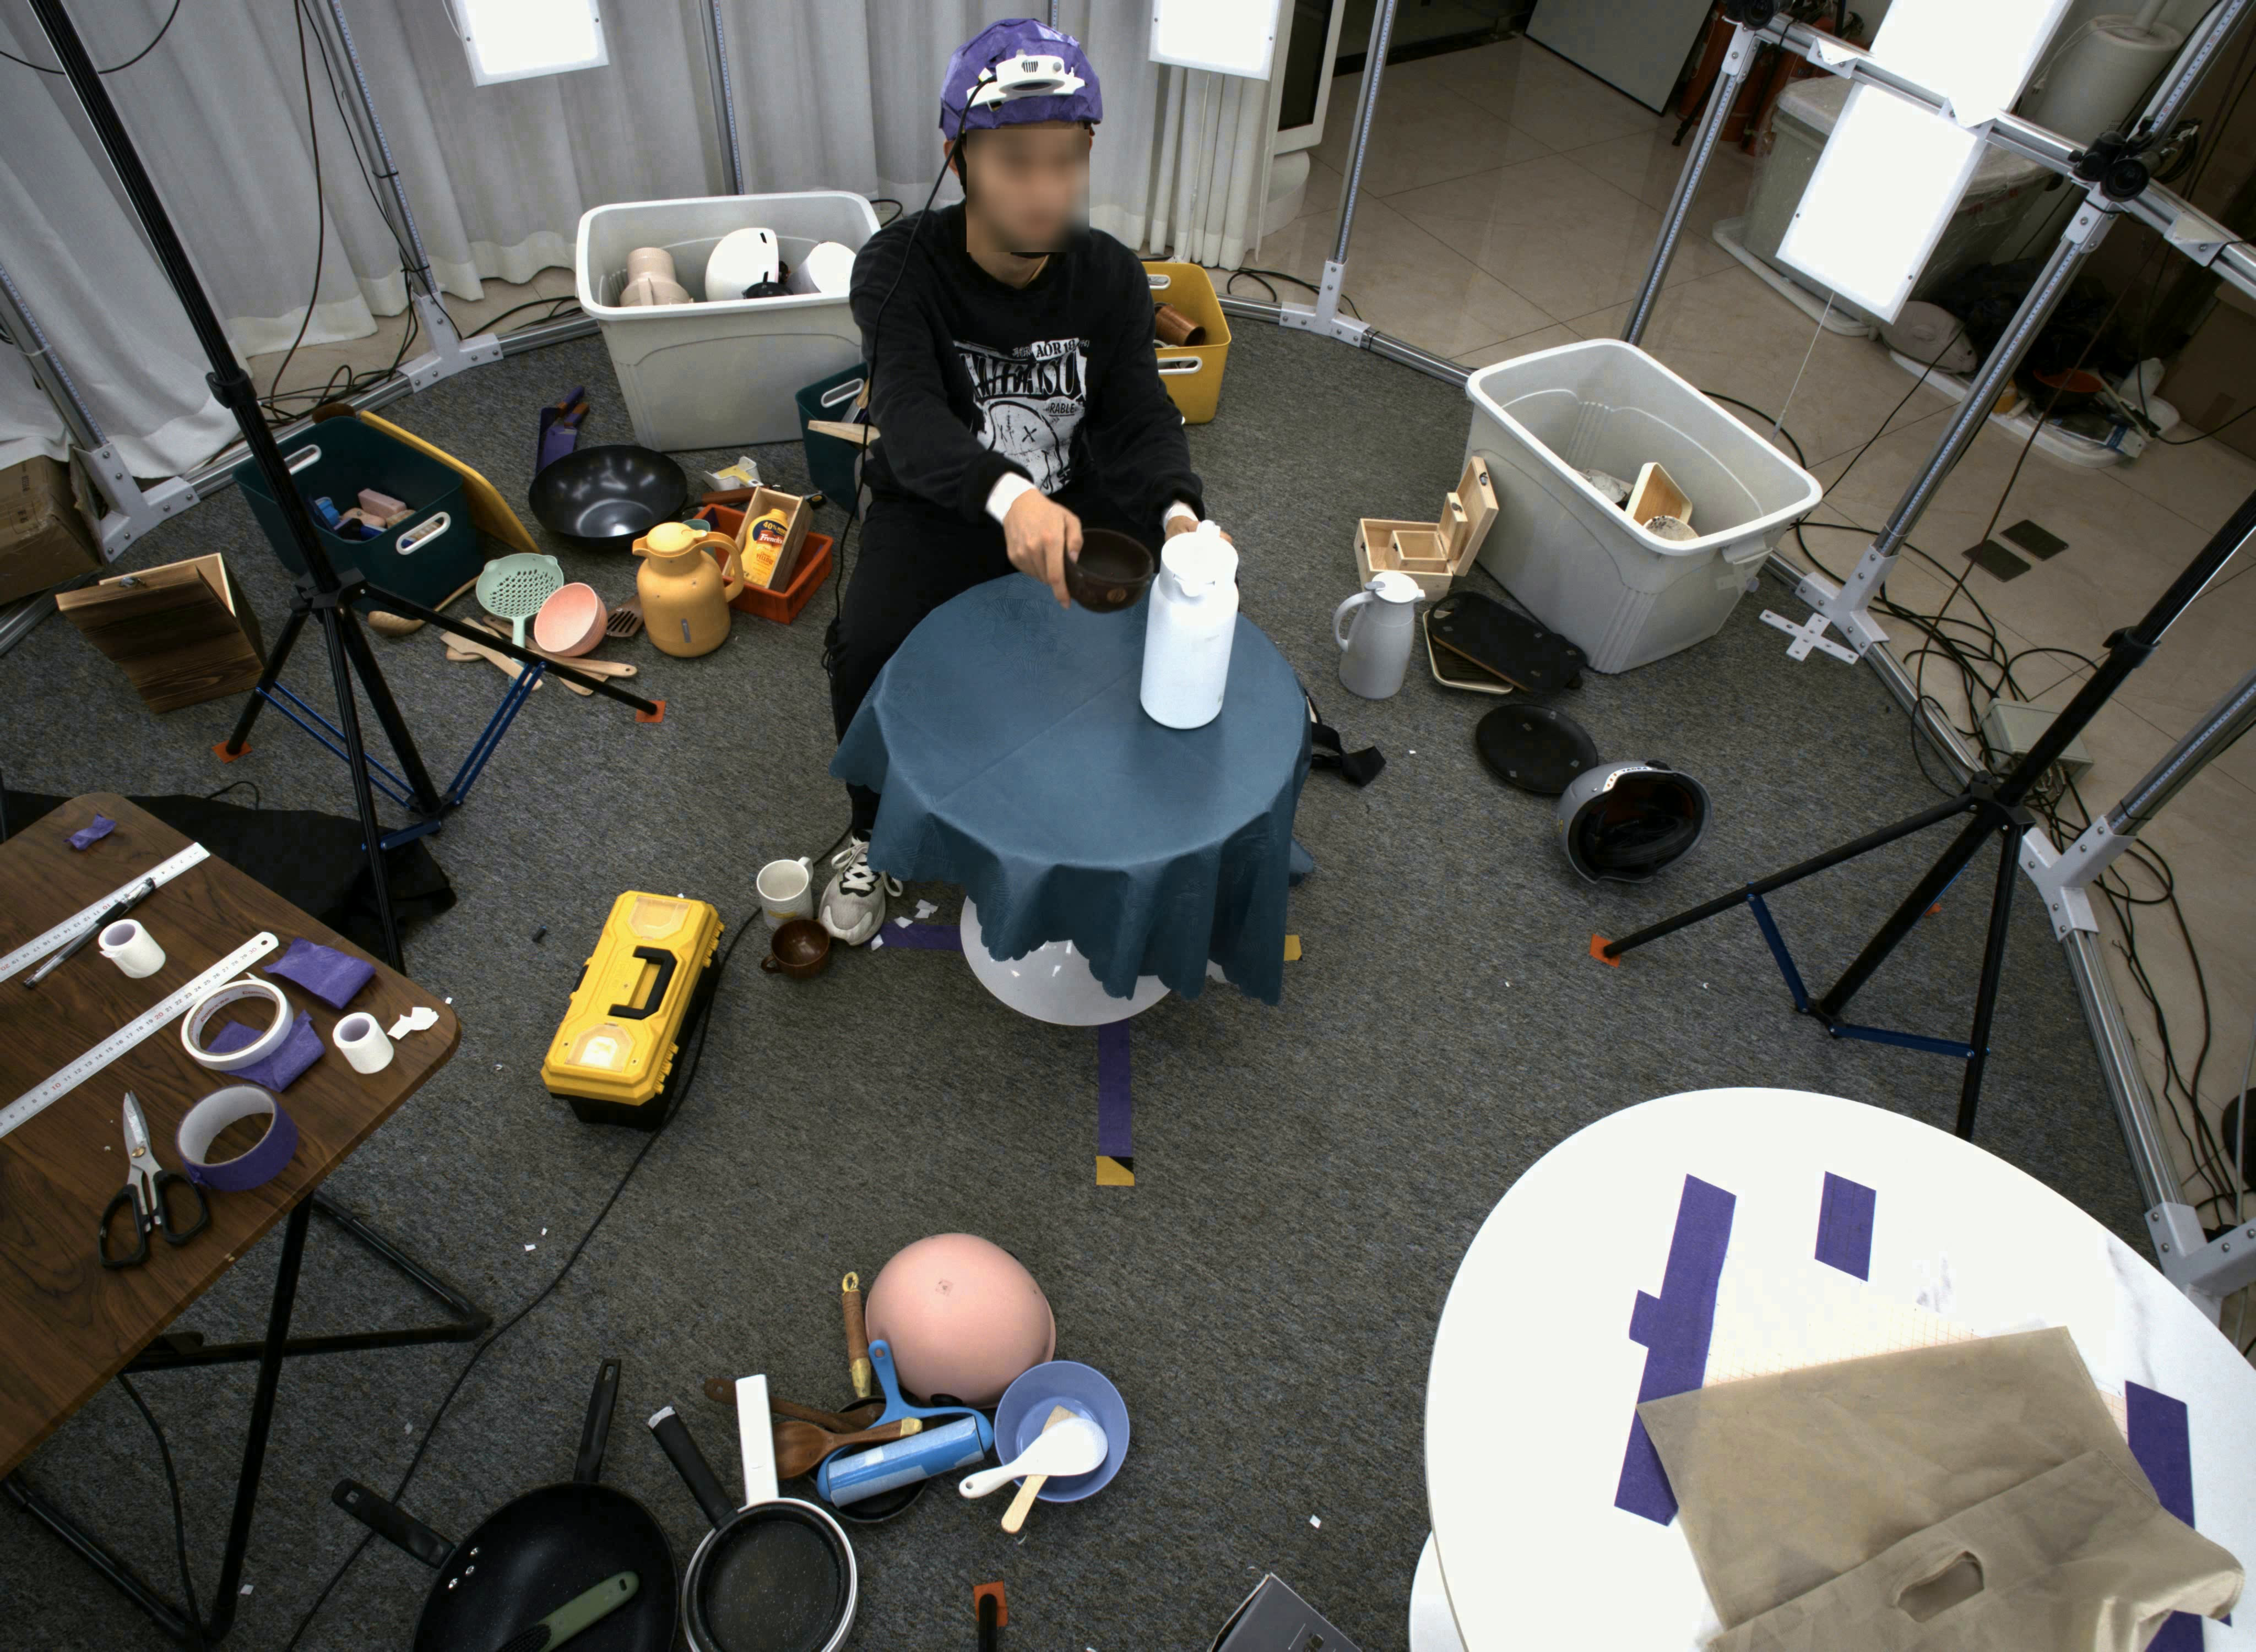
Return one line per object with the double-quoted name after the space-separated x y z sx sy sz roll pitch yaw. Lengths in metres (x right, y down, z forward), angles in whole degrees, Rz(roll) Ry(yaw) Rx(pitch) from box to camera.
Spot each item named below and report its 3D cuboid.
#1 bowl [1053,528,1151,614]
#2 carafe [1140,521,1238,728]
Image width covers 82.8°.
-0.035 -0.306 1.585 0.117 0.068 0.121 9 42 -8 "bowl"
0.084 -0.274 1.740 0.124 0.262 0.177 8 50 6 "carafe"
